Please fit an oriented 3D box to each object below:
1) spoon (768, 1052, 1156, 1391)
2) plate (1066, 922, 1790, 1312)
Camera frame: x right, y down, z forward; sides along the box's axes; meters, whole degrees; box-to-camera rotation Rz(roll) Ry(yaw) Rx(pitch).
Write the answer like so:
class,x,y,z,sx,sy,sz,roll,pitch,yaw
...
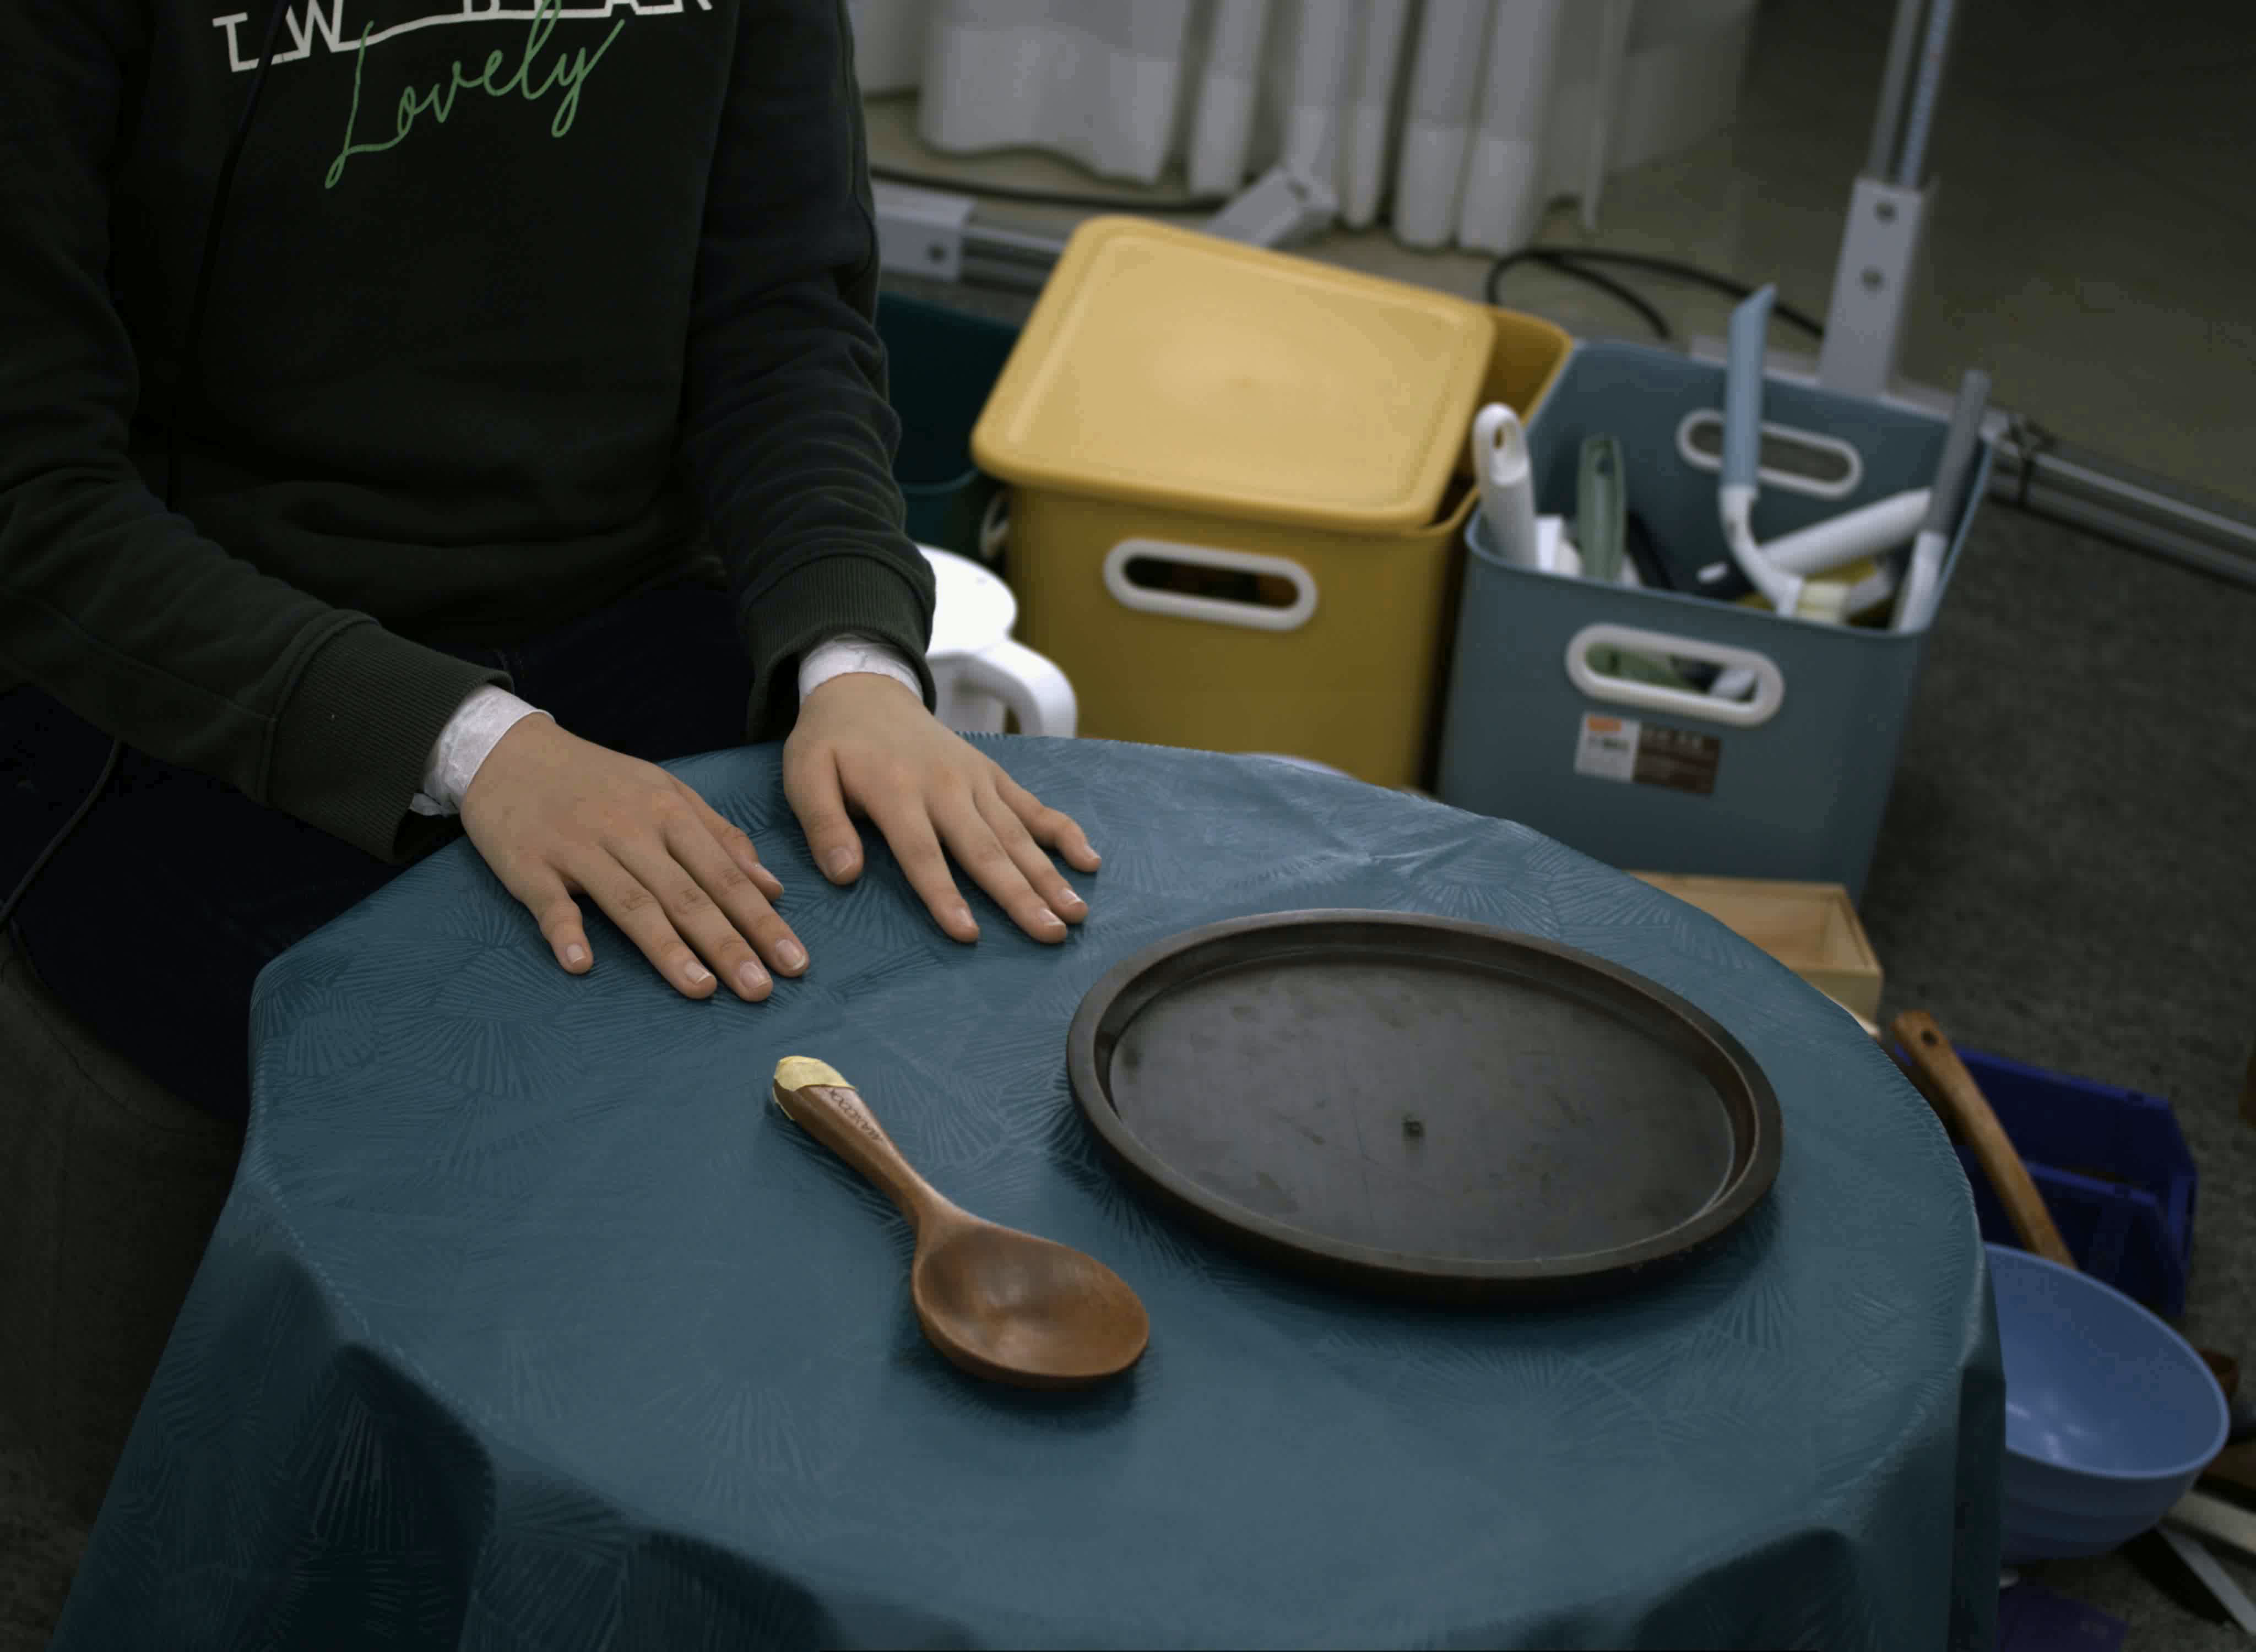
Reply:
class,x,y,z,sx,sy,sz,roll,pitch,yaw
spoon,-0.063,0.131,1.753,0.075,0.017,0.218,-9,31,-29
plate,0.103,0.099,1.849,0.254,0.029,0.256,6,27,-3
